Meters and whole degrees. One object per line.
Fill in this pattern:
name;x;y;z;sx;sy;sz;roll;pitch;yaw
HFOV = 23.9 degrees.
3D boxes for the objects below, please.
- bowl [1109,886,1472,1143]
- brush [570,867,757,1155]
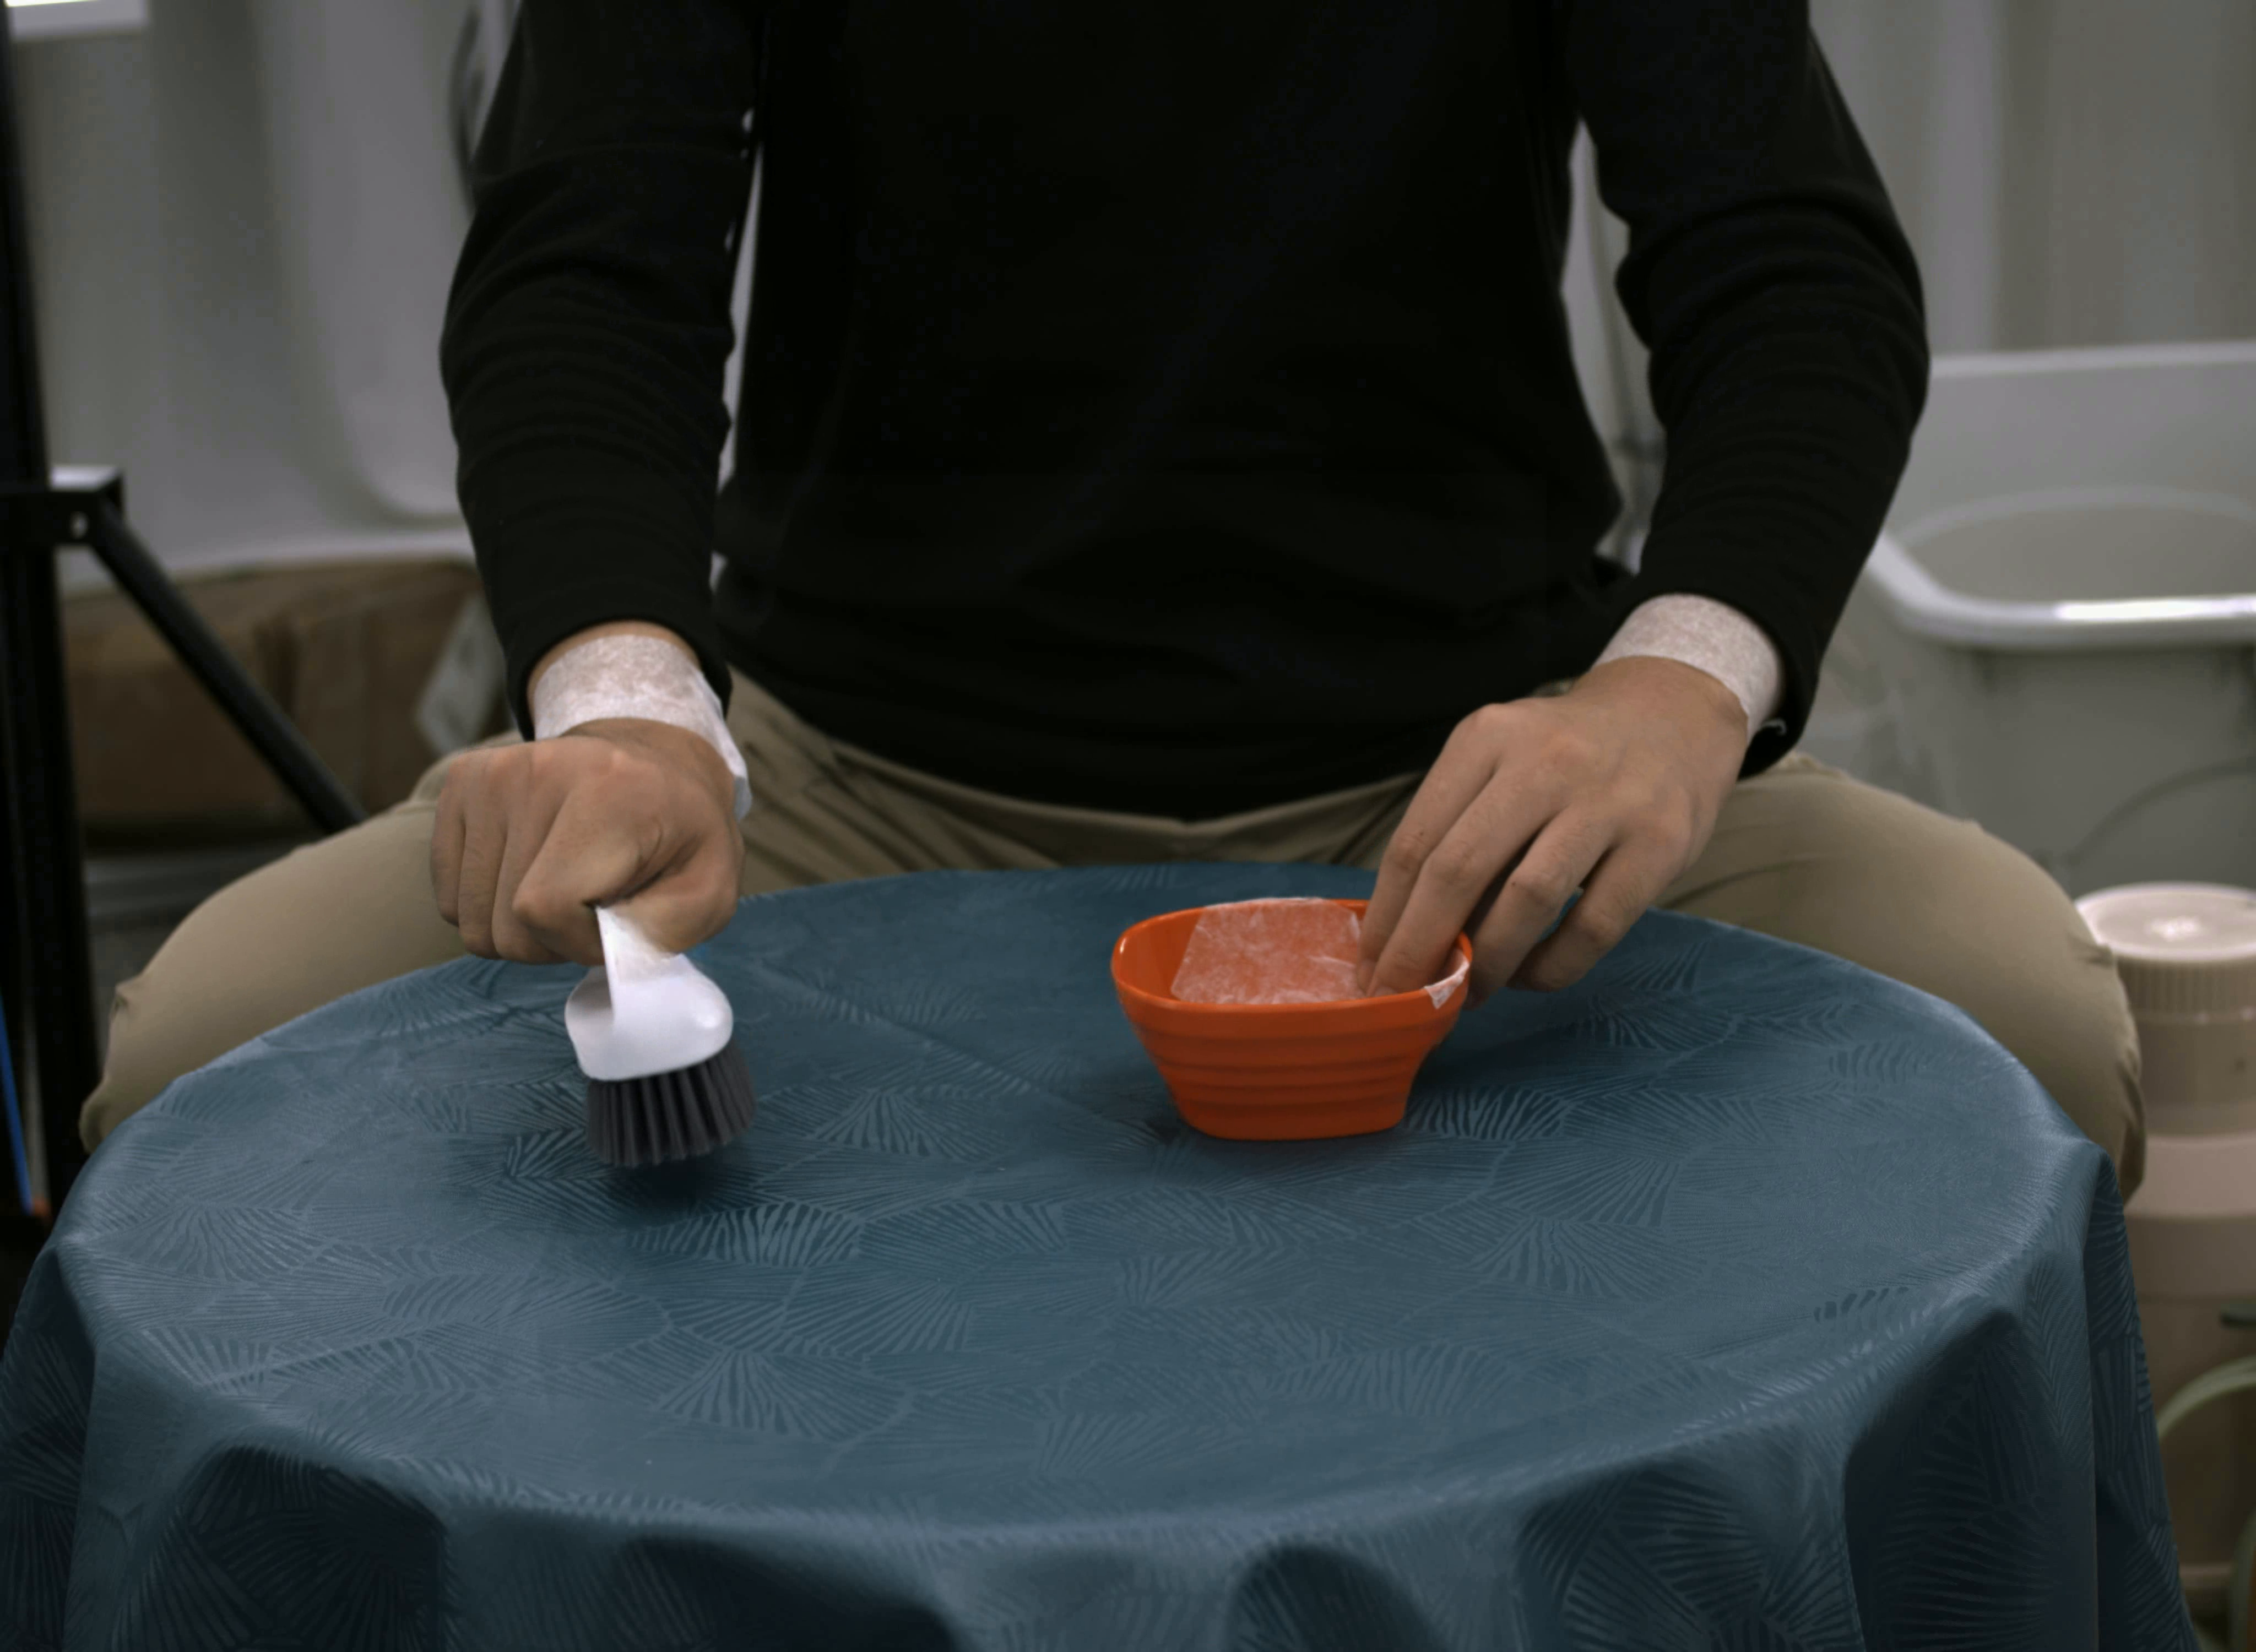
bowl;0.050;0.060;1.620;0.118;0.051;0.119;-4;19;0
brush;-0.143;0.050;1.591;0.050;0.072;0.100;-14;13;-2
